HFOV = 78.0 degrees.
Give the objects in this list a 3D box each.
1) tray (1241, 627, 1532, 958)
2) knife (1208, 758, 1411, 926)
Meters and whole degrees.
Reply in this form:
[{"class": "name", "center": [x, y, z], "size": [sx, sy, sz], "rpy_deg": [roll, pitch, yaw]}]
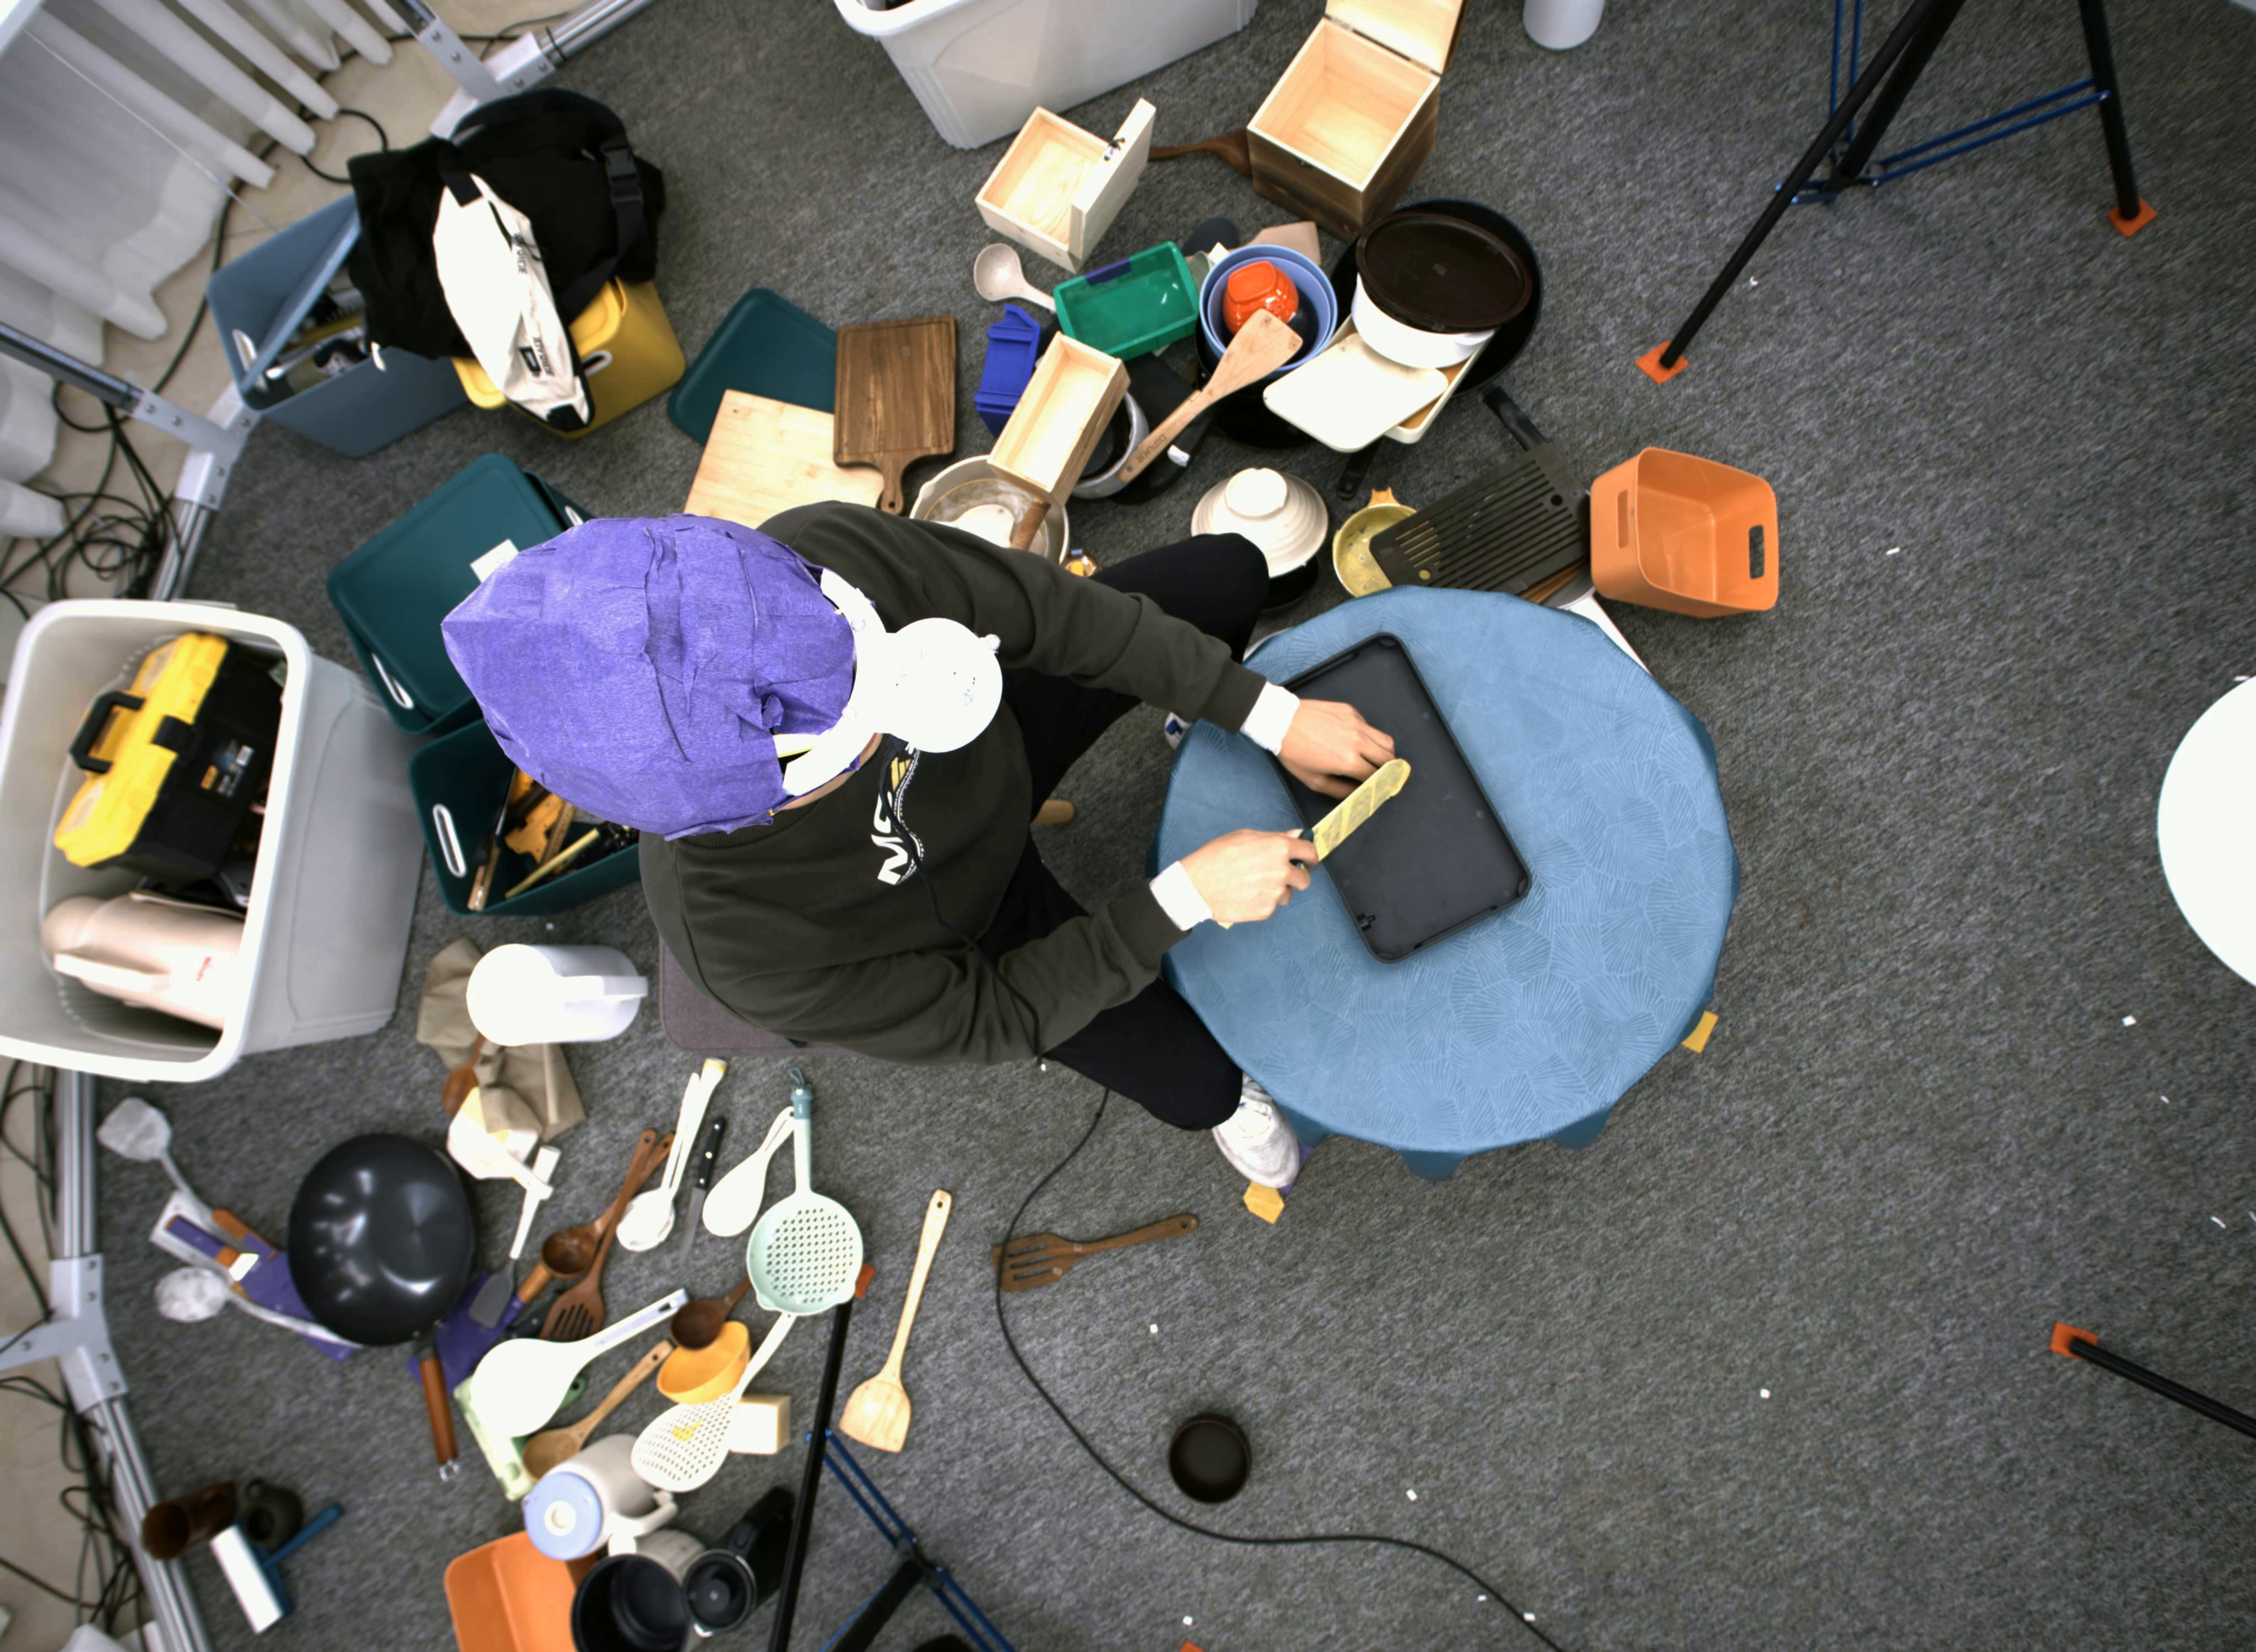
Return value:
[{"class": "tray", "center": [0.269, -0.036, 1.447], "size": [0.185, 0.037, 0.316], "rpy_deg": [-30, 82, 8]}, {"class": "knife", "center": [0.189, 0.016, 1.391], "size": [0.285, 0.083, 0.027], "rpy_deg": [-37, 58, -20]}]
